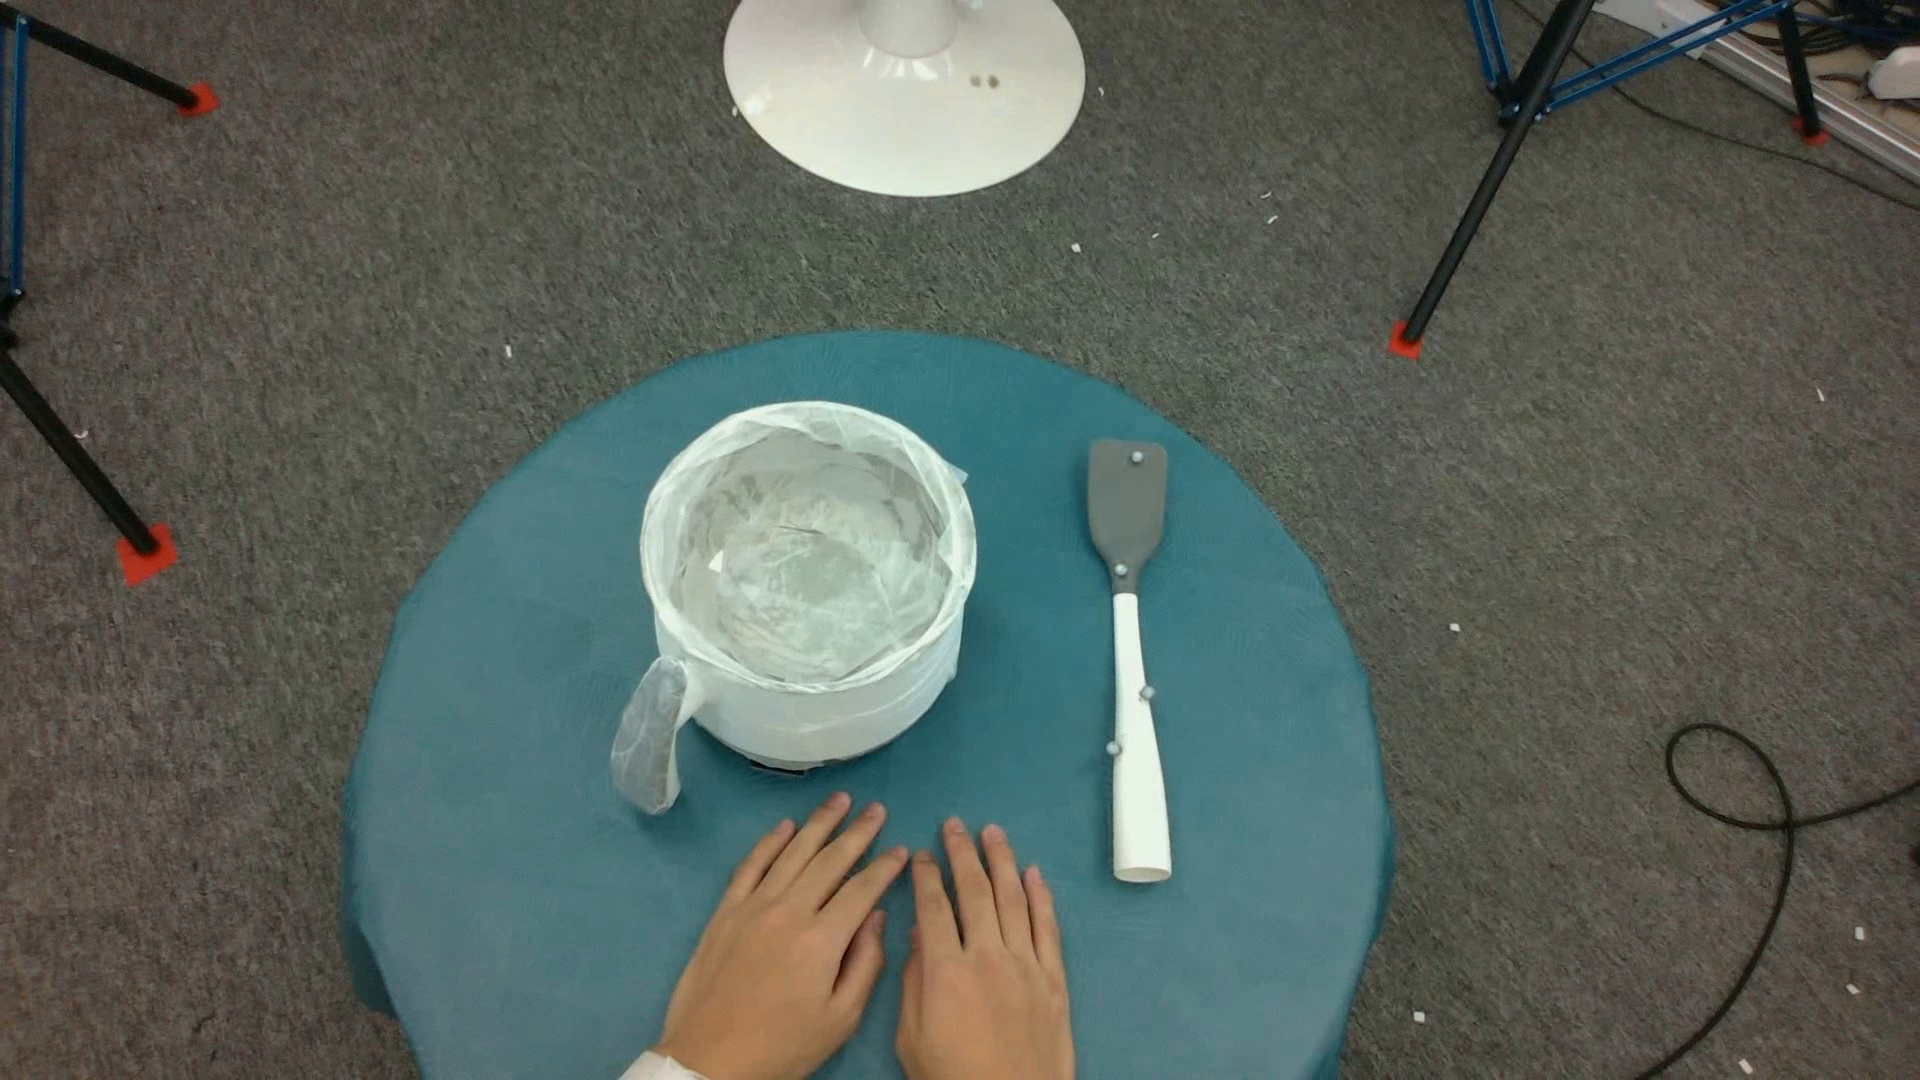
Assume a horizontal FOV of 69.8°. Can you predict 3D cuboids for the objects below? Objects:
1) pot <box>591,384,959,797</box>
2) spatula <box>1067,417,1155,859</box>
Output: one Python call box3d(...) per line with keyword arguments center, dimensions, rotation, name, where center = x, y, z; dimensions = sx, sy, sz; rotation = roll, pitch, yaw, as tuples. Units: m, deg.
box3d(center=(-0.112, 0.039, 0.766), dimensions=(0.179, 0.136, 0.234), rotation=(36, 63, 13), name="pot")
box3d(center=(0.096, 0.050, 0.844), dimensions=(0.058, 0.032, 0.289), rotation=(2, 61, -1), name="spatula")
